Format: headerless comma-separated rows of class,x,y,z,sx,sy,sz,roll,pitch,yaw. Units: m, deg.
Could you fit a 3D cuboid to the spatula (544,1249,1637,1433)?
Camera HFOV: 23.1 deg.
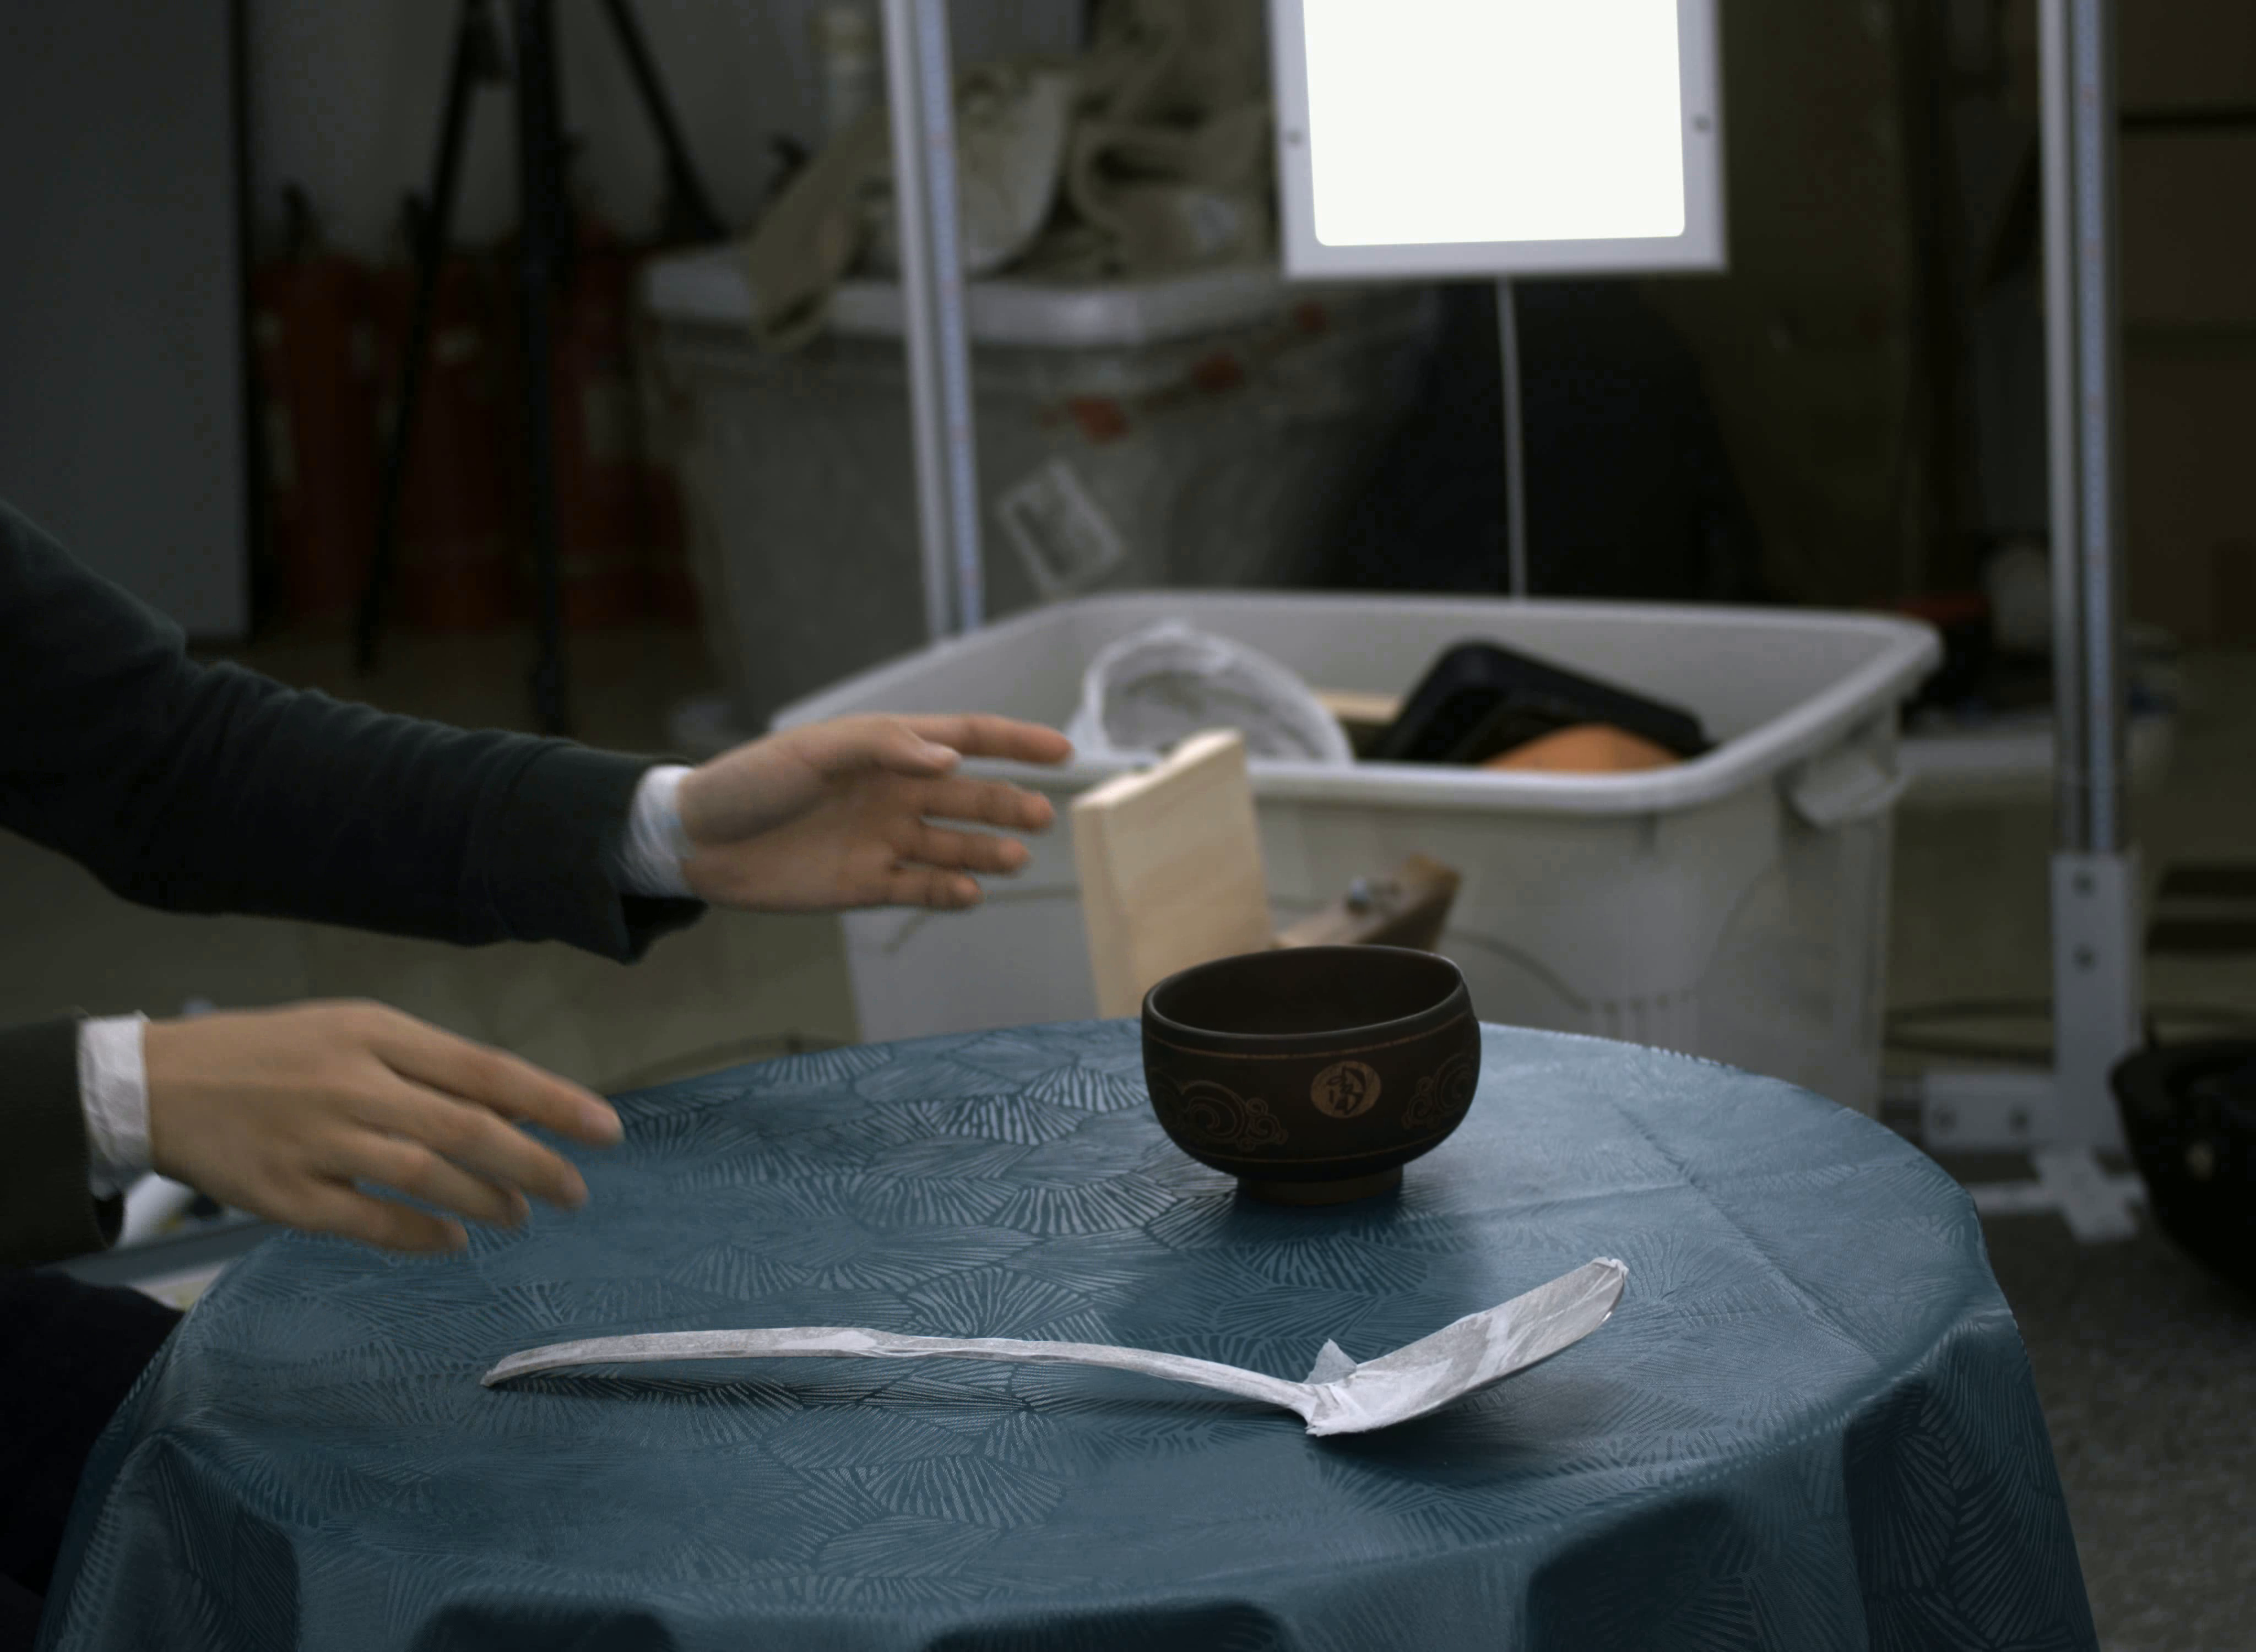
spatula,-0.022,0.157,1.698,0.370,0.045,0.097,1,17,22

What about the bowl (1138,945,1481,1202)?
bowl,0.064,0.088,1.883,0.118,0.070,0.118,-5,12,0
